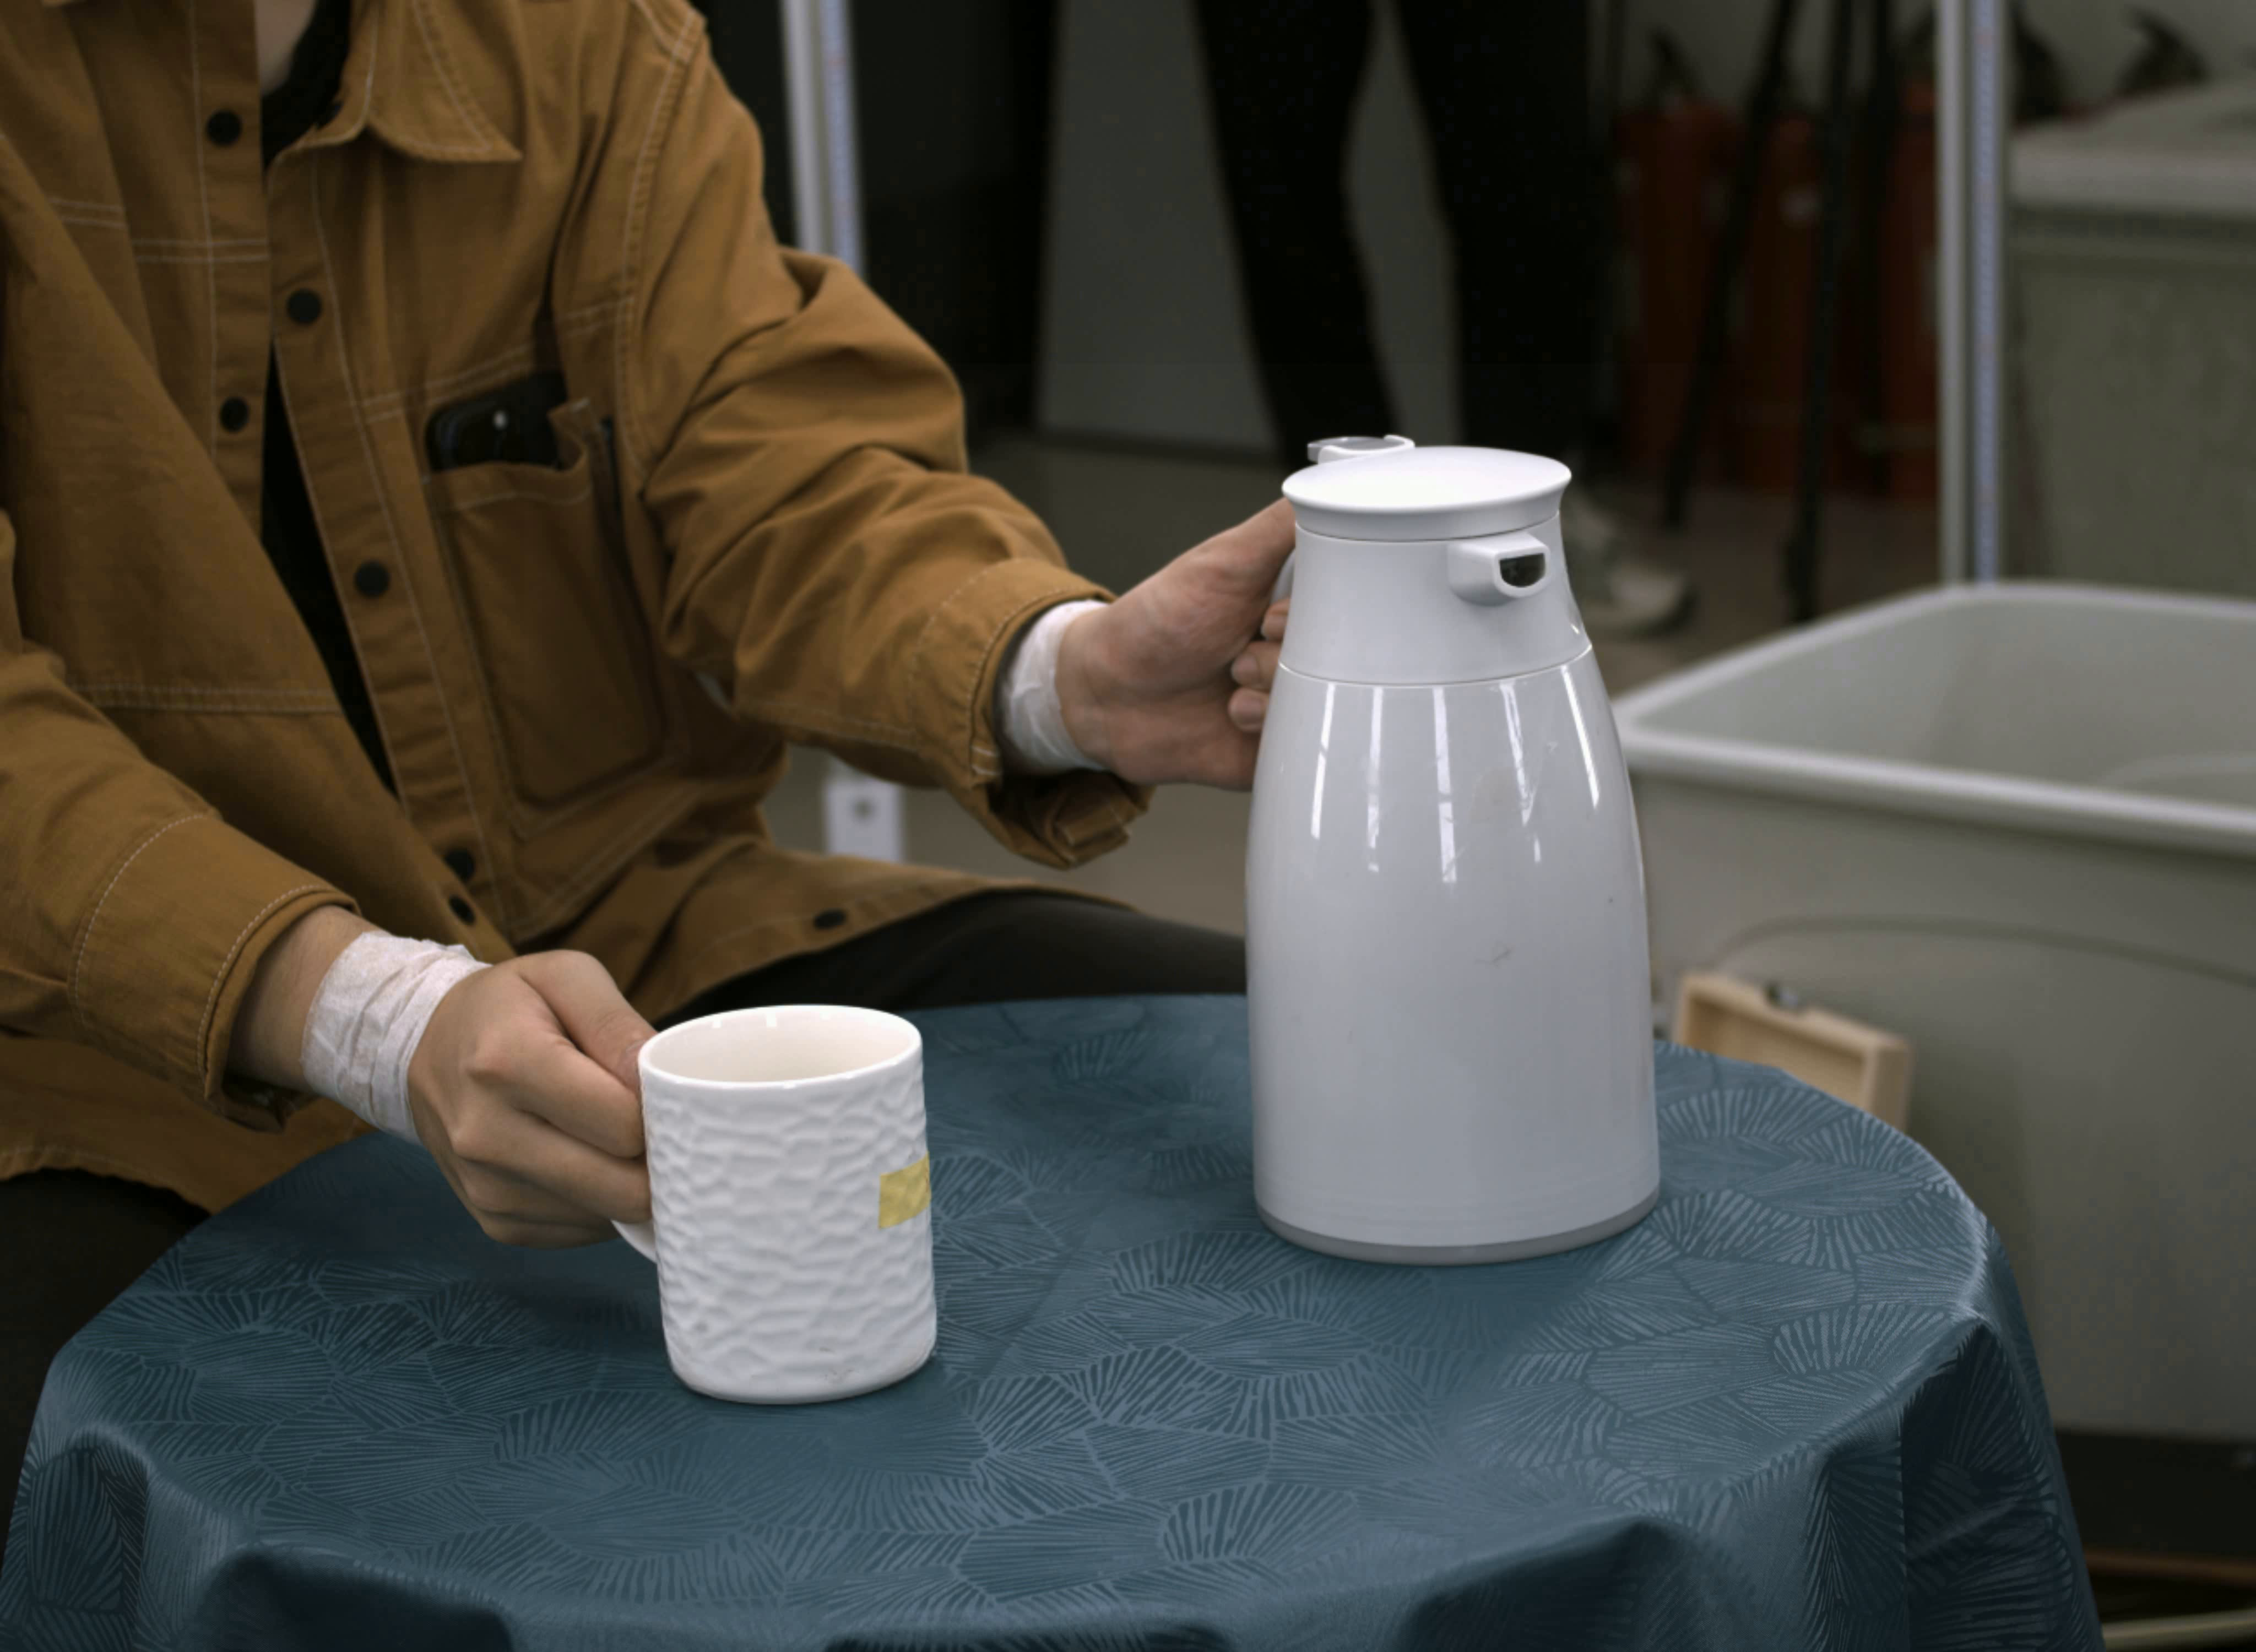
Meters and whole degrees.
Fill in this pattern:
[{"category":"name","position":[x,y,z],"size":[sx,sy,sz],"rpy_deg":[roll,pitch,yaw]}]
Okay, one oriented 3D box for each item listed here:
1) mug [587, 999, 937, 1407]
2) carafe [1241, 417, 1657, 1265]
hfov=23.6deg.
[{"category":"mug","position":[-0.114,0.111,1.631],"size":[0.119,0.103,0.083],"rpy_deg":[6,17,36]},{"category":"carafe","position":[0.089,-0.003,1.729],"size":[0.130,0.251,0.169],"rpy_deg":[-11,15,-24]}]
